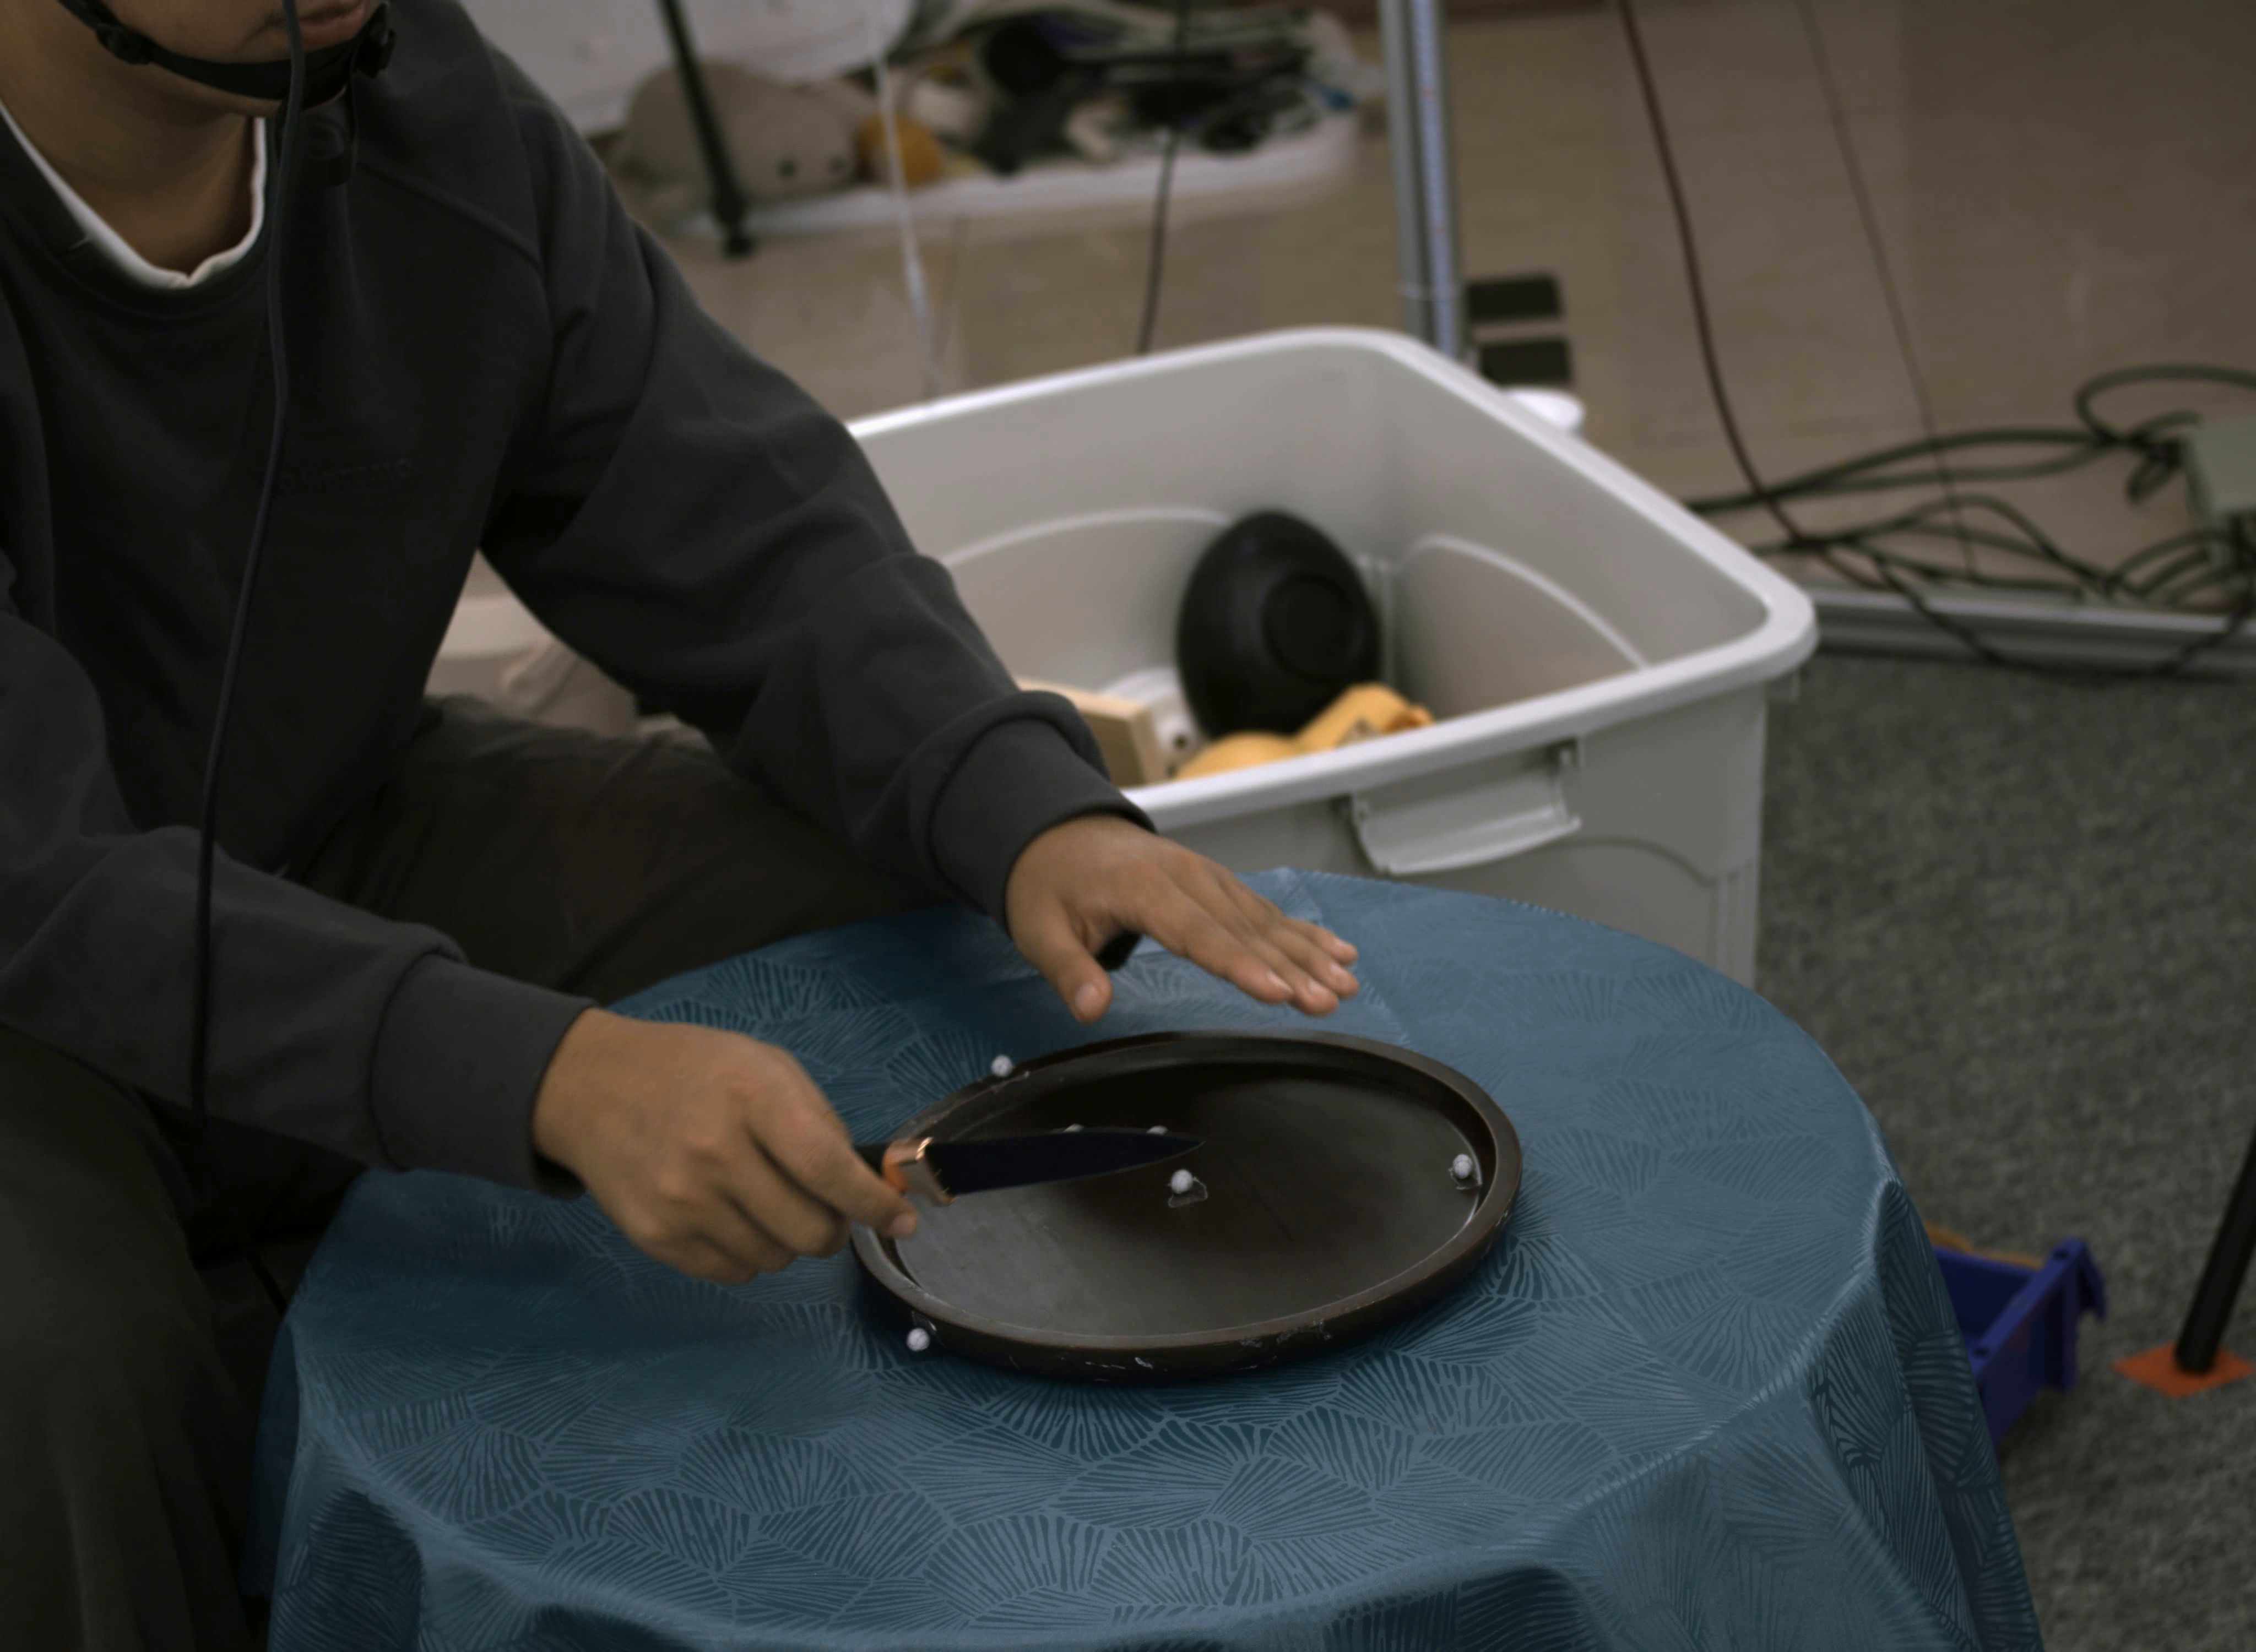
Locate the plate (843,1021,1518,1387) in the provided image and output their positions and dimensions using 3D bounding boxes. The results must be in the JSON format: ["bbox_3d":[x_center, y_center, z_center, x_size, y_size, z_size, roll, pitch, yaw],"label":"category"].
[{"bbox_3d":[0.020,0.139,2.114,0.254,0.029,0.251,-7,24,3],"label":"plate"}]

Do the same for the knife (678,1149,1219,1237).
[{"bbox_3d":[-0.066,0.127,2.003,0.225,0.026,0.017,-9,25,32],"label":"knife"}]
